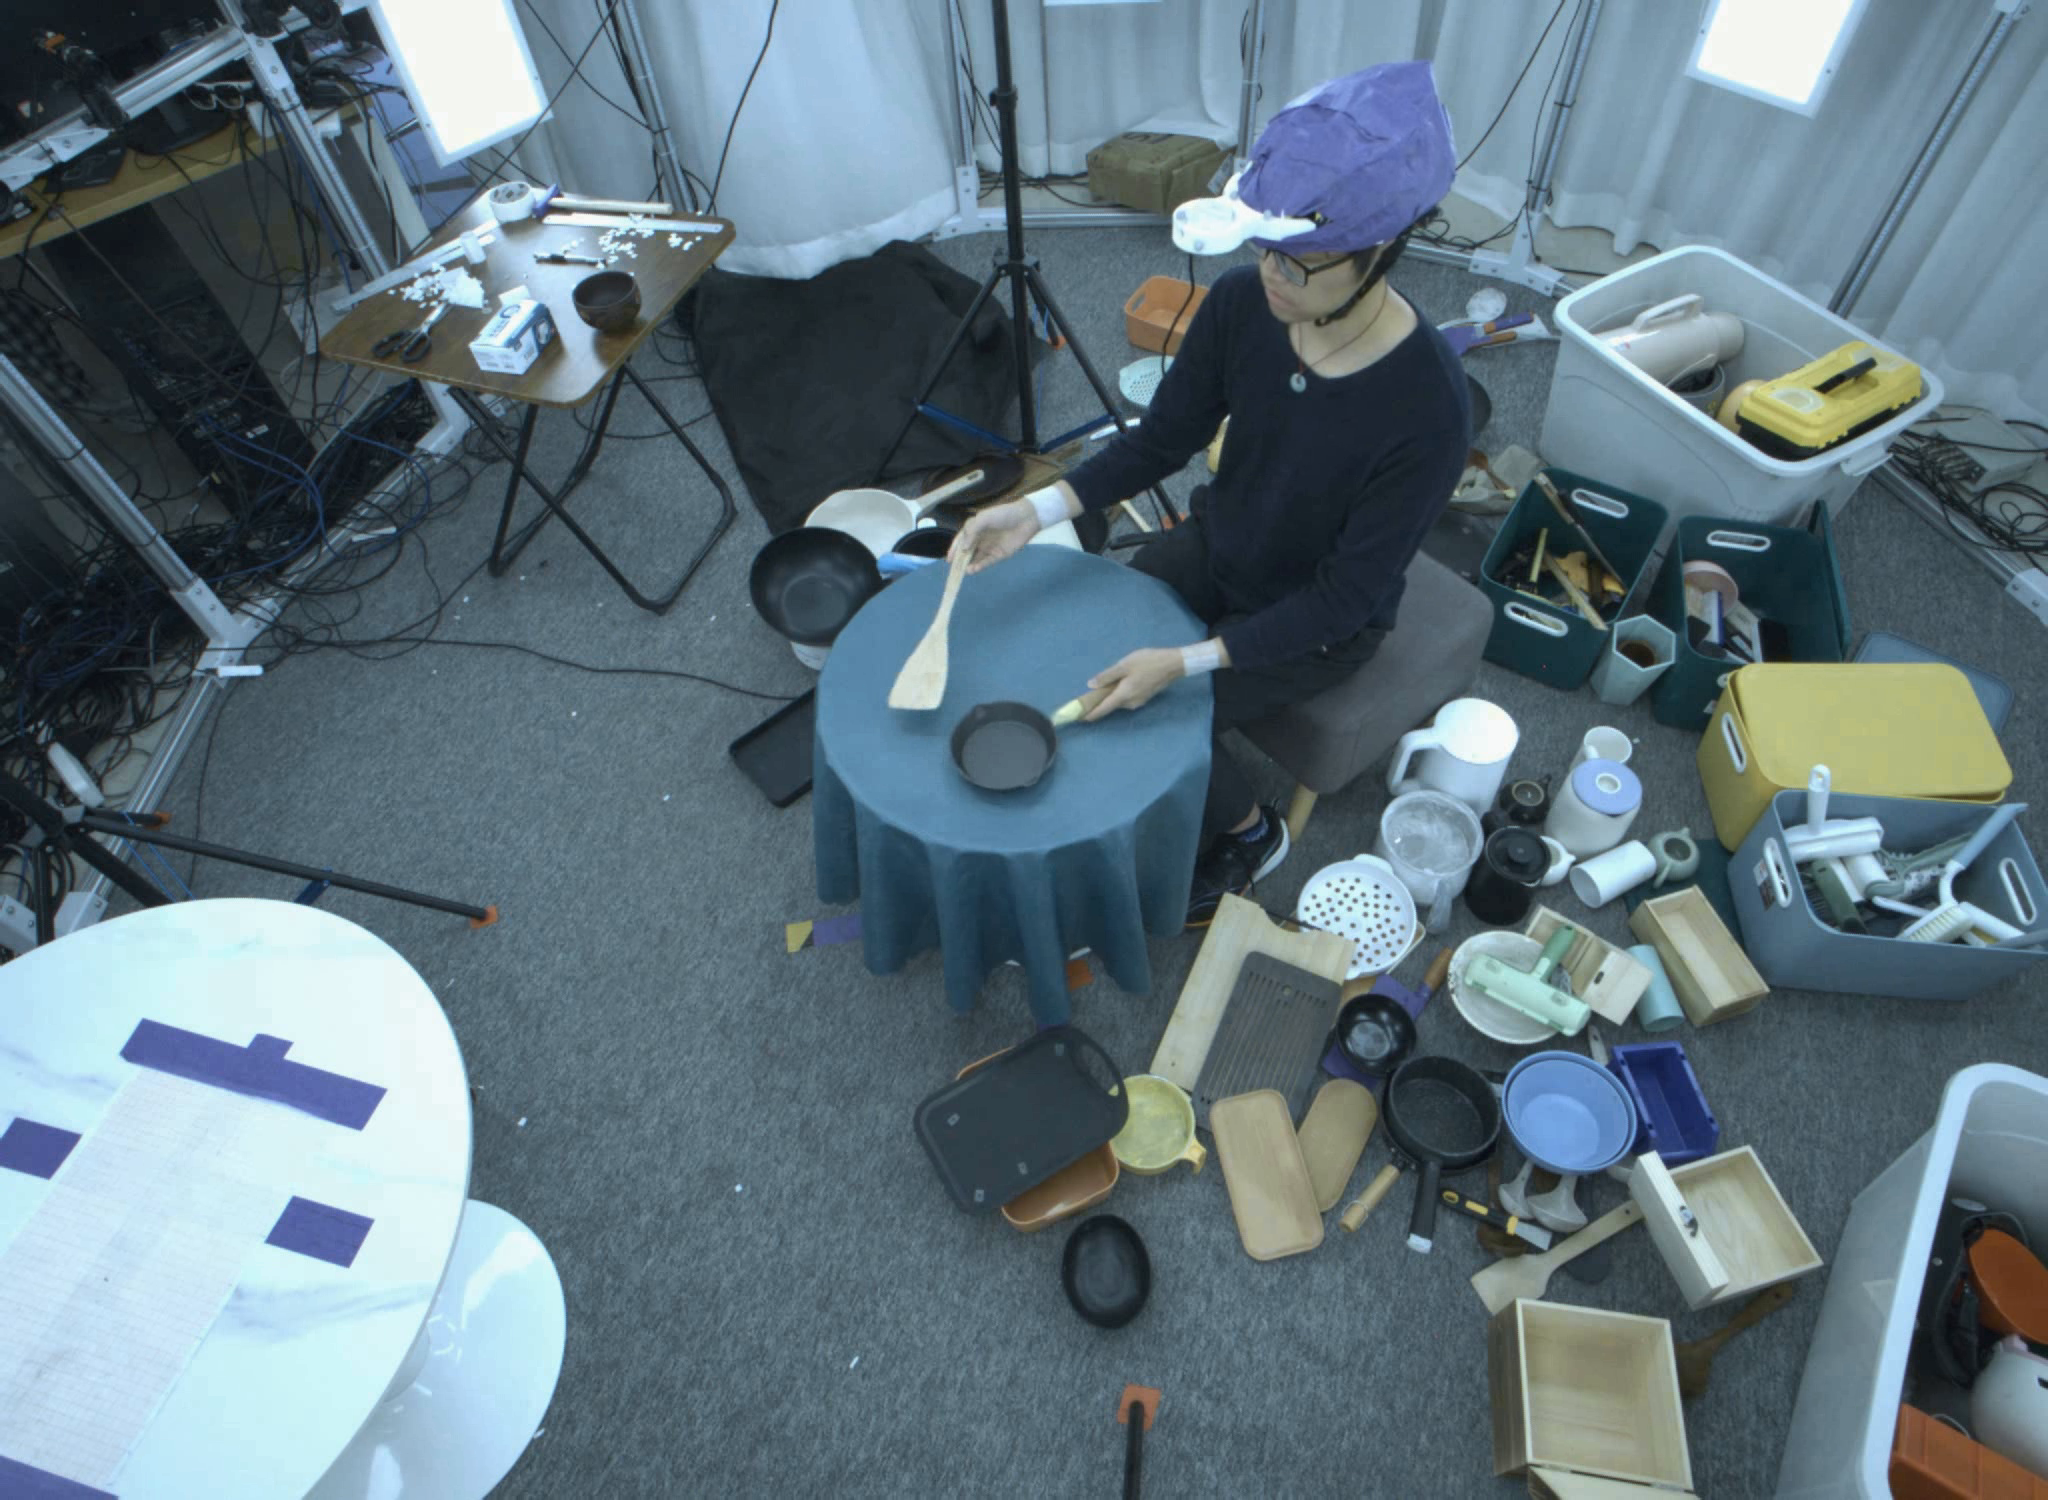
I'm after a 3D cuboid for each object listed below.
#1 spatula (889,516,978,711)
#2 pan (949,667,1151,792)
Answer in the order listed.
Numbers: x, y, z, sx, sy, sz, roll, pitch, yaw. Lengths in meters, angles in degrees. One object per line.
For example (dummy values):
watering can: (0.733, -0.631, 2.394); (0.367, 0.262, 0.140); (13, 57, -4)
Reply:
spatula: (-0.120, -0.204, 1.812); (0.079, 0.016, 0.326); (12, 76, 9)
pan: (0.045, -0.041, 1.783); (0.326, 0.050, 0.166); (-25, 58, -14)
